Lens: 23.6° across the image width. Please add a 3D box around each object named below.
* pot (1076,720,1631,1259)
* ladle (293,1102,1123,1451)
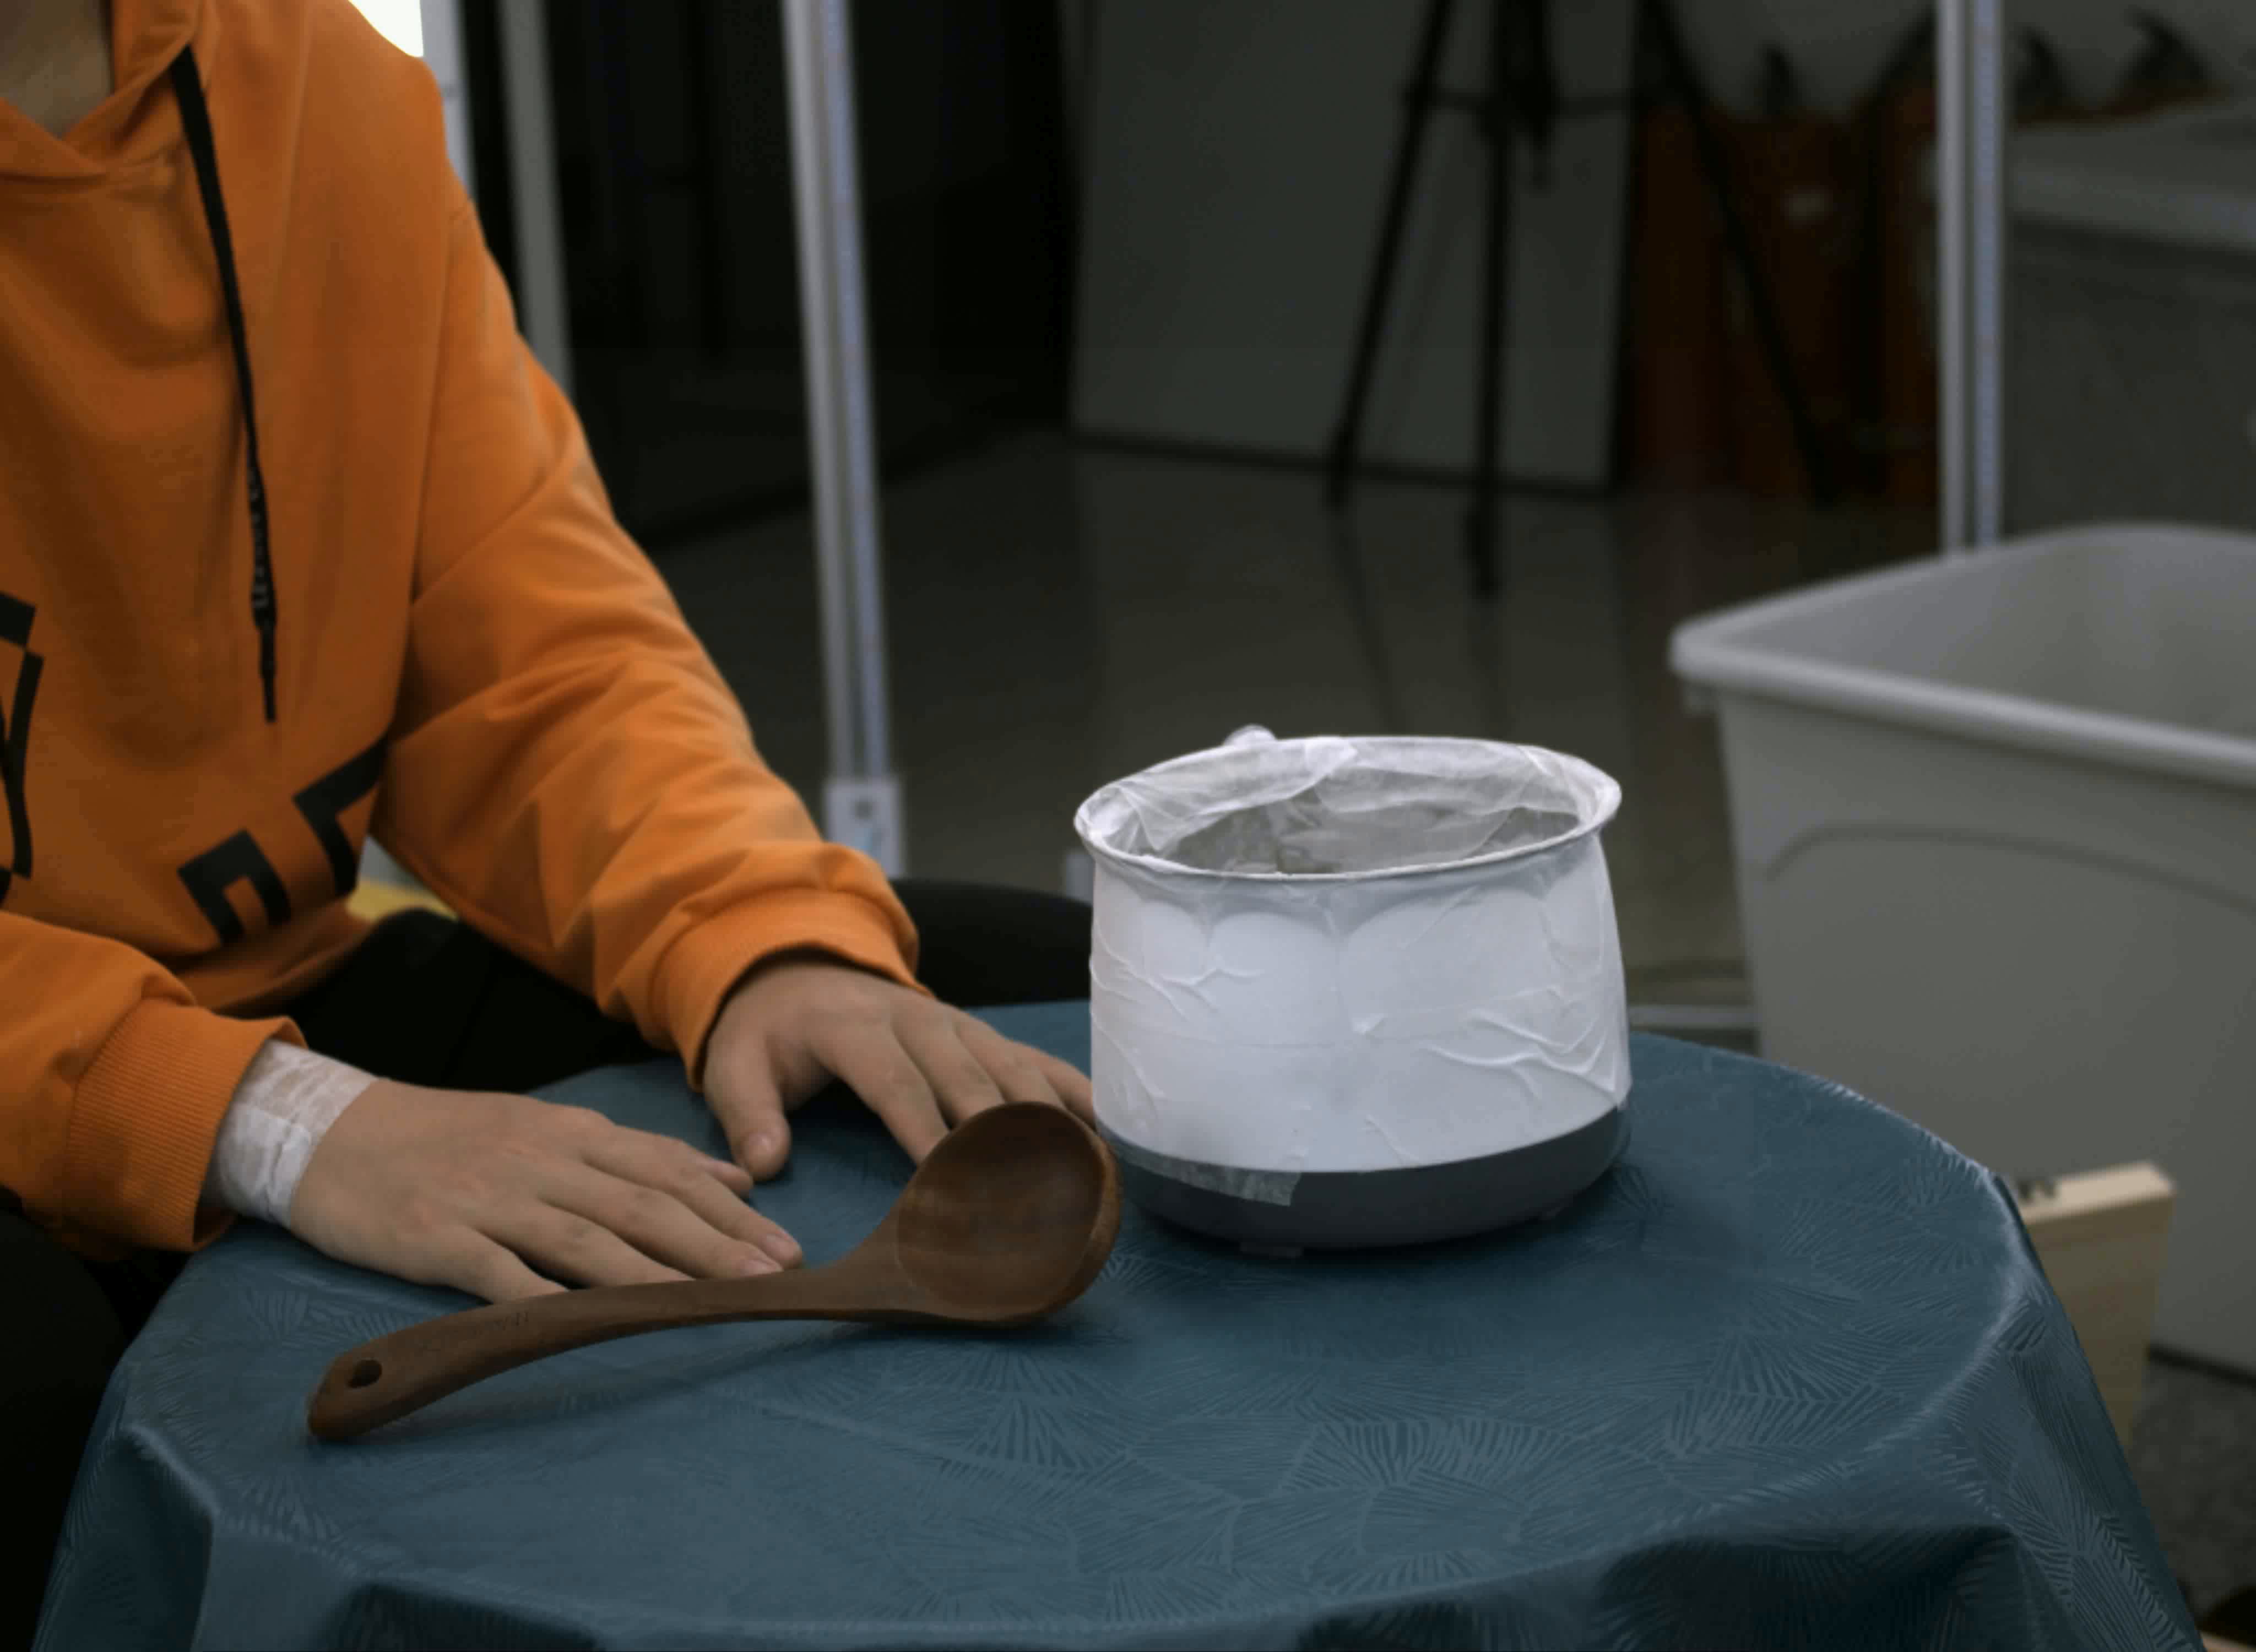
[{"bbox_3d":[0.065,0.047,1.764,0.175,0.138,0.236,-8,14,-16],"label":"pot"},{"bbox_3d":[-0.124,0.136,1.620,0.255,0.065,0.077,-9,40,-21],"label":"ladle"}]
